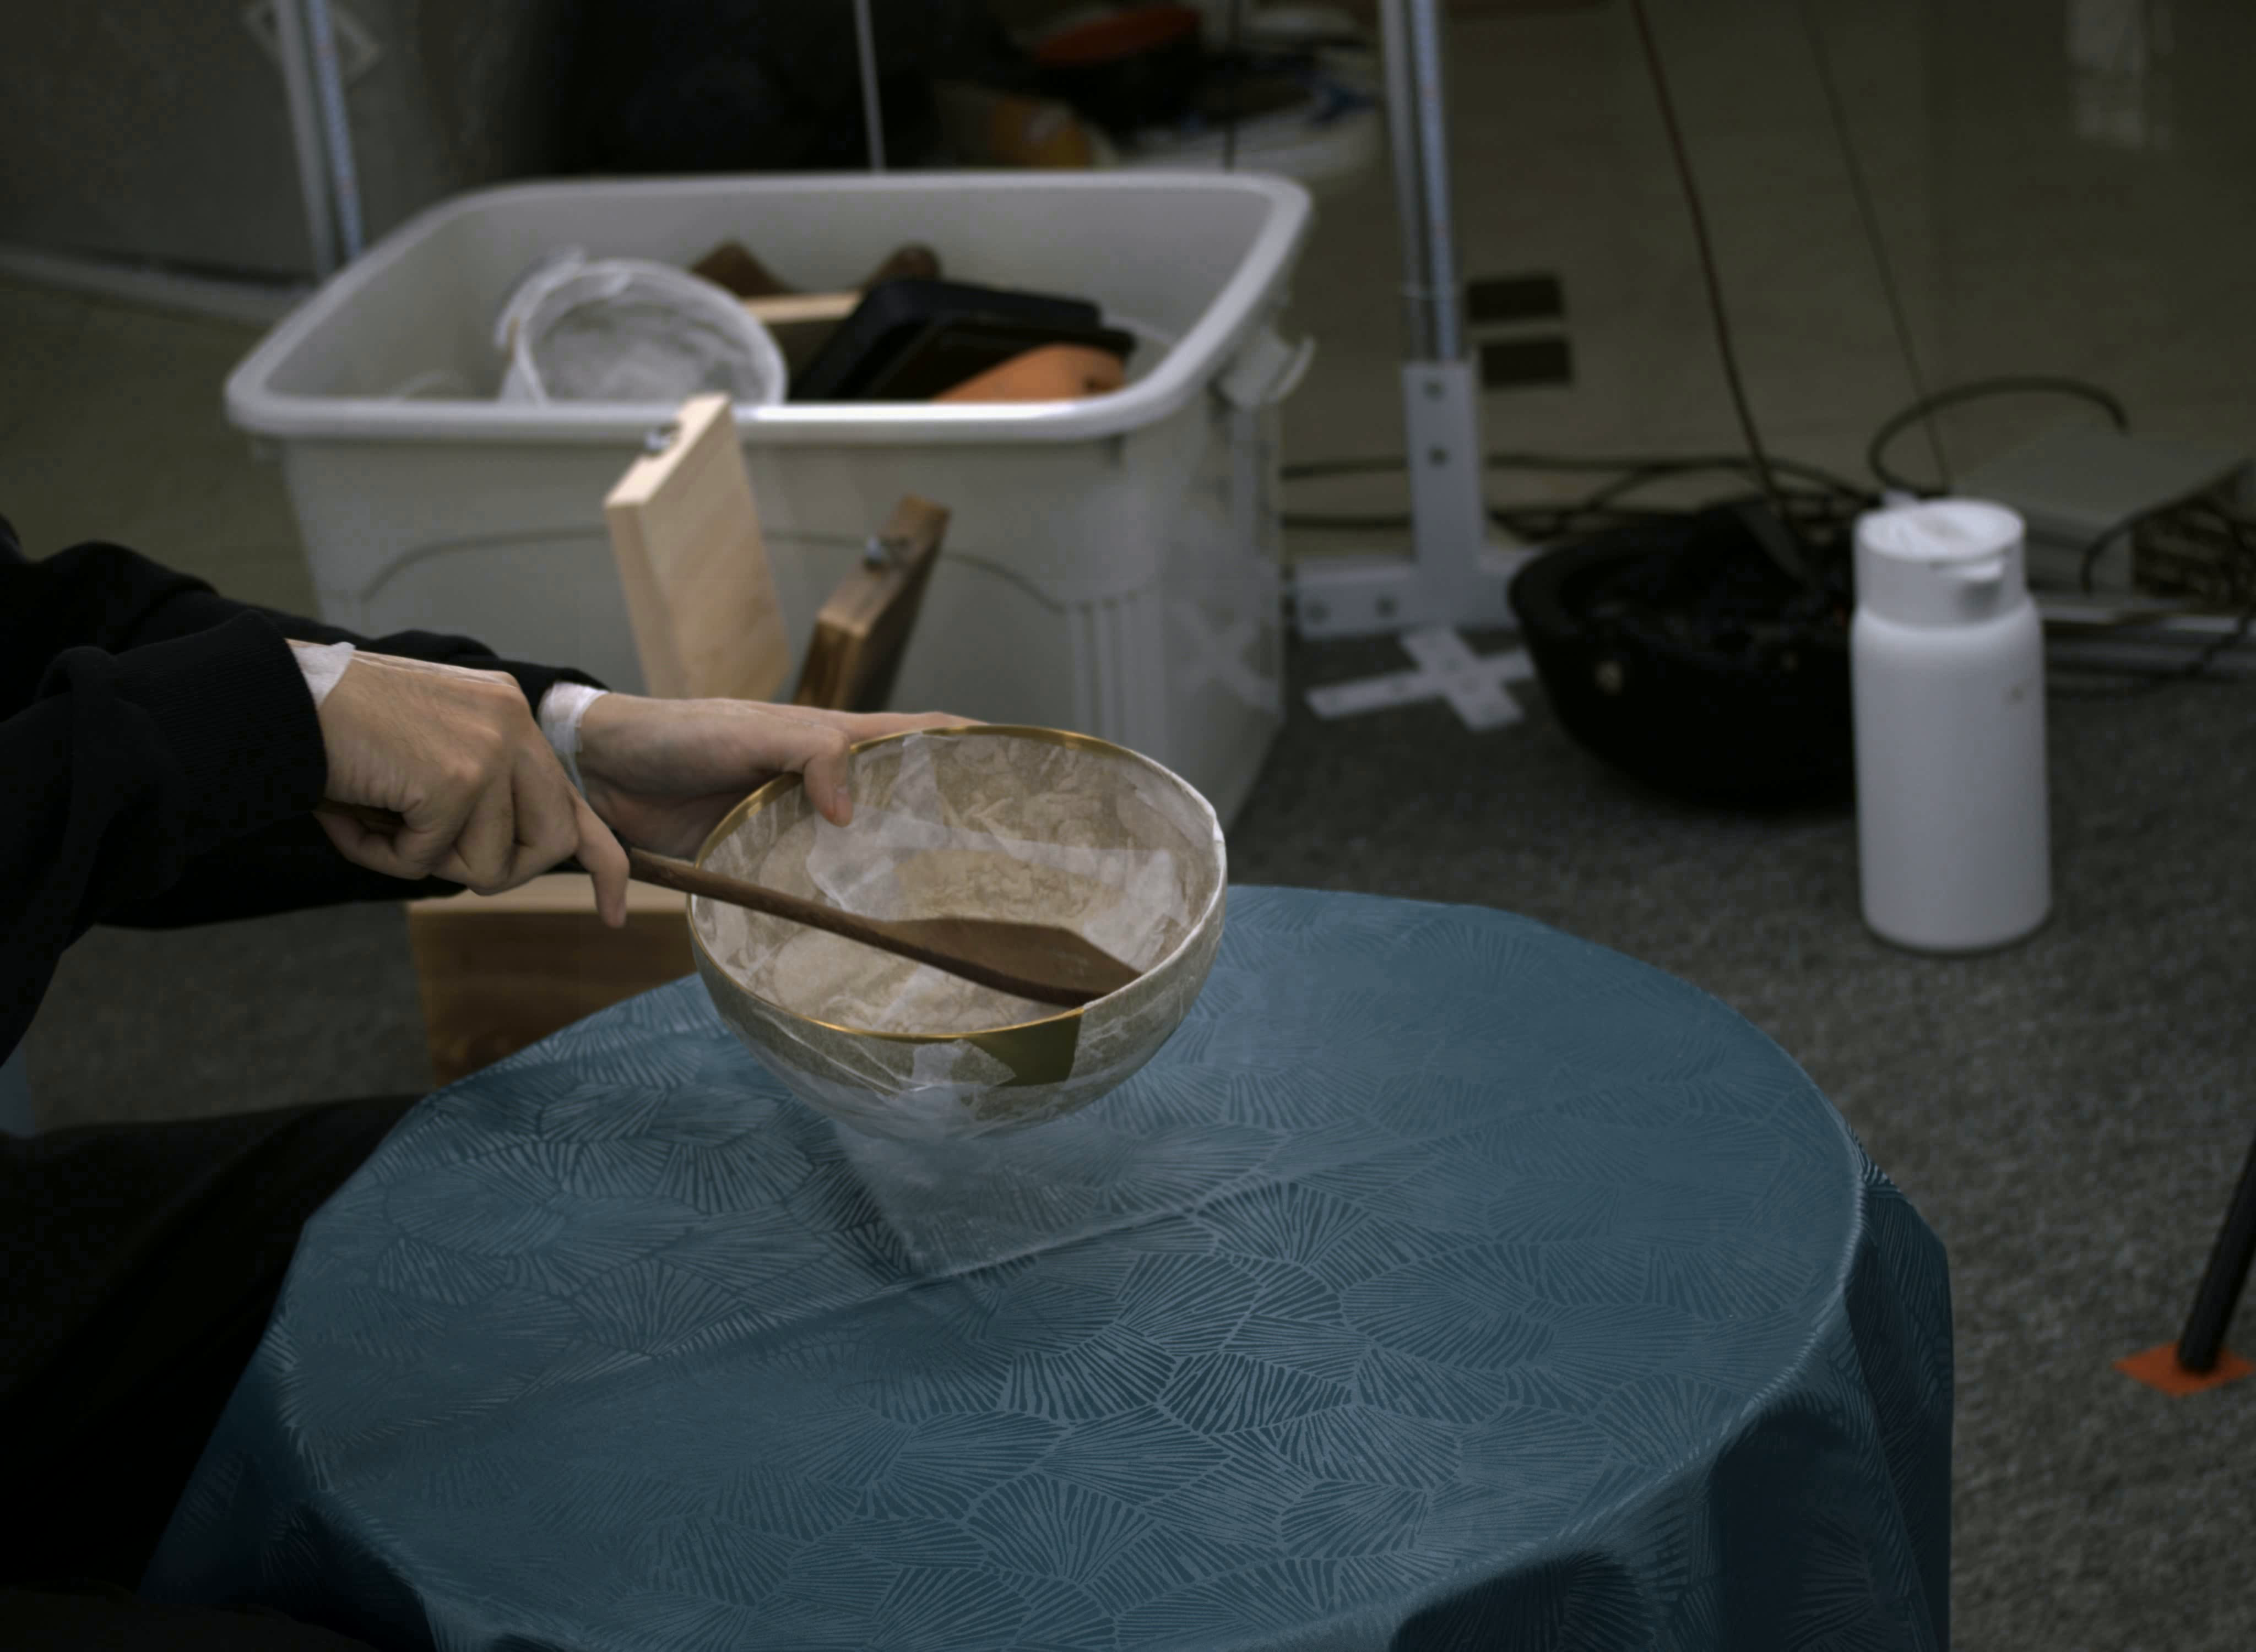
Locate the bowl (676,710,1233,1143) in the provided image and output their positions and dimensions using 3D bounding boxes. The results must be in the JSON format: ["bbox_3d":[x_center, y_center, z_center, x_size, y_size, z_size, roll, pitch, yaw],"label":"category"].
[{"bbox_3d":[-0.061,0.053,2.125,0.214,0.096,0.211,-5,36,4],"label":"bowl"}]

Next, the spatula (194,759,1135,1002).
[{"bbox_3d":[-0.157,0.019,2.036,0.387,0.016,0.095,14,10,-31],"label":"spatula"}]
